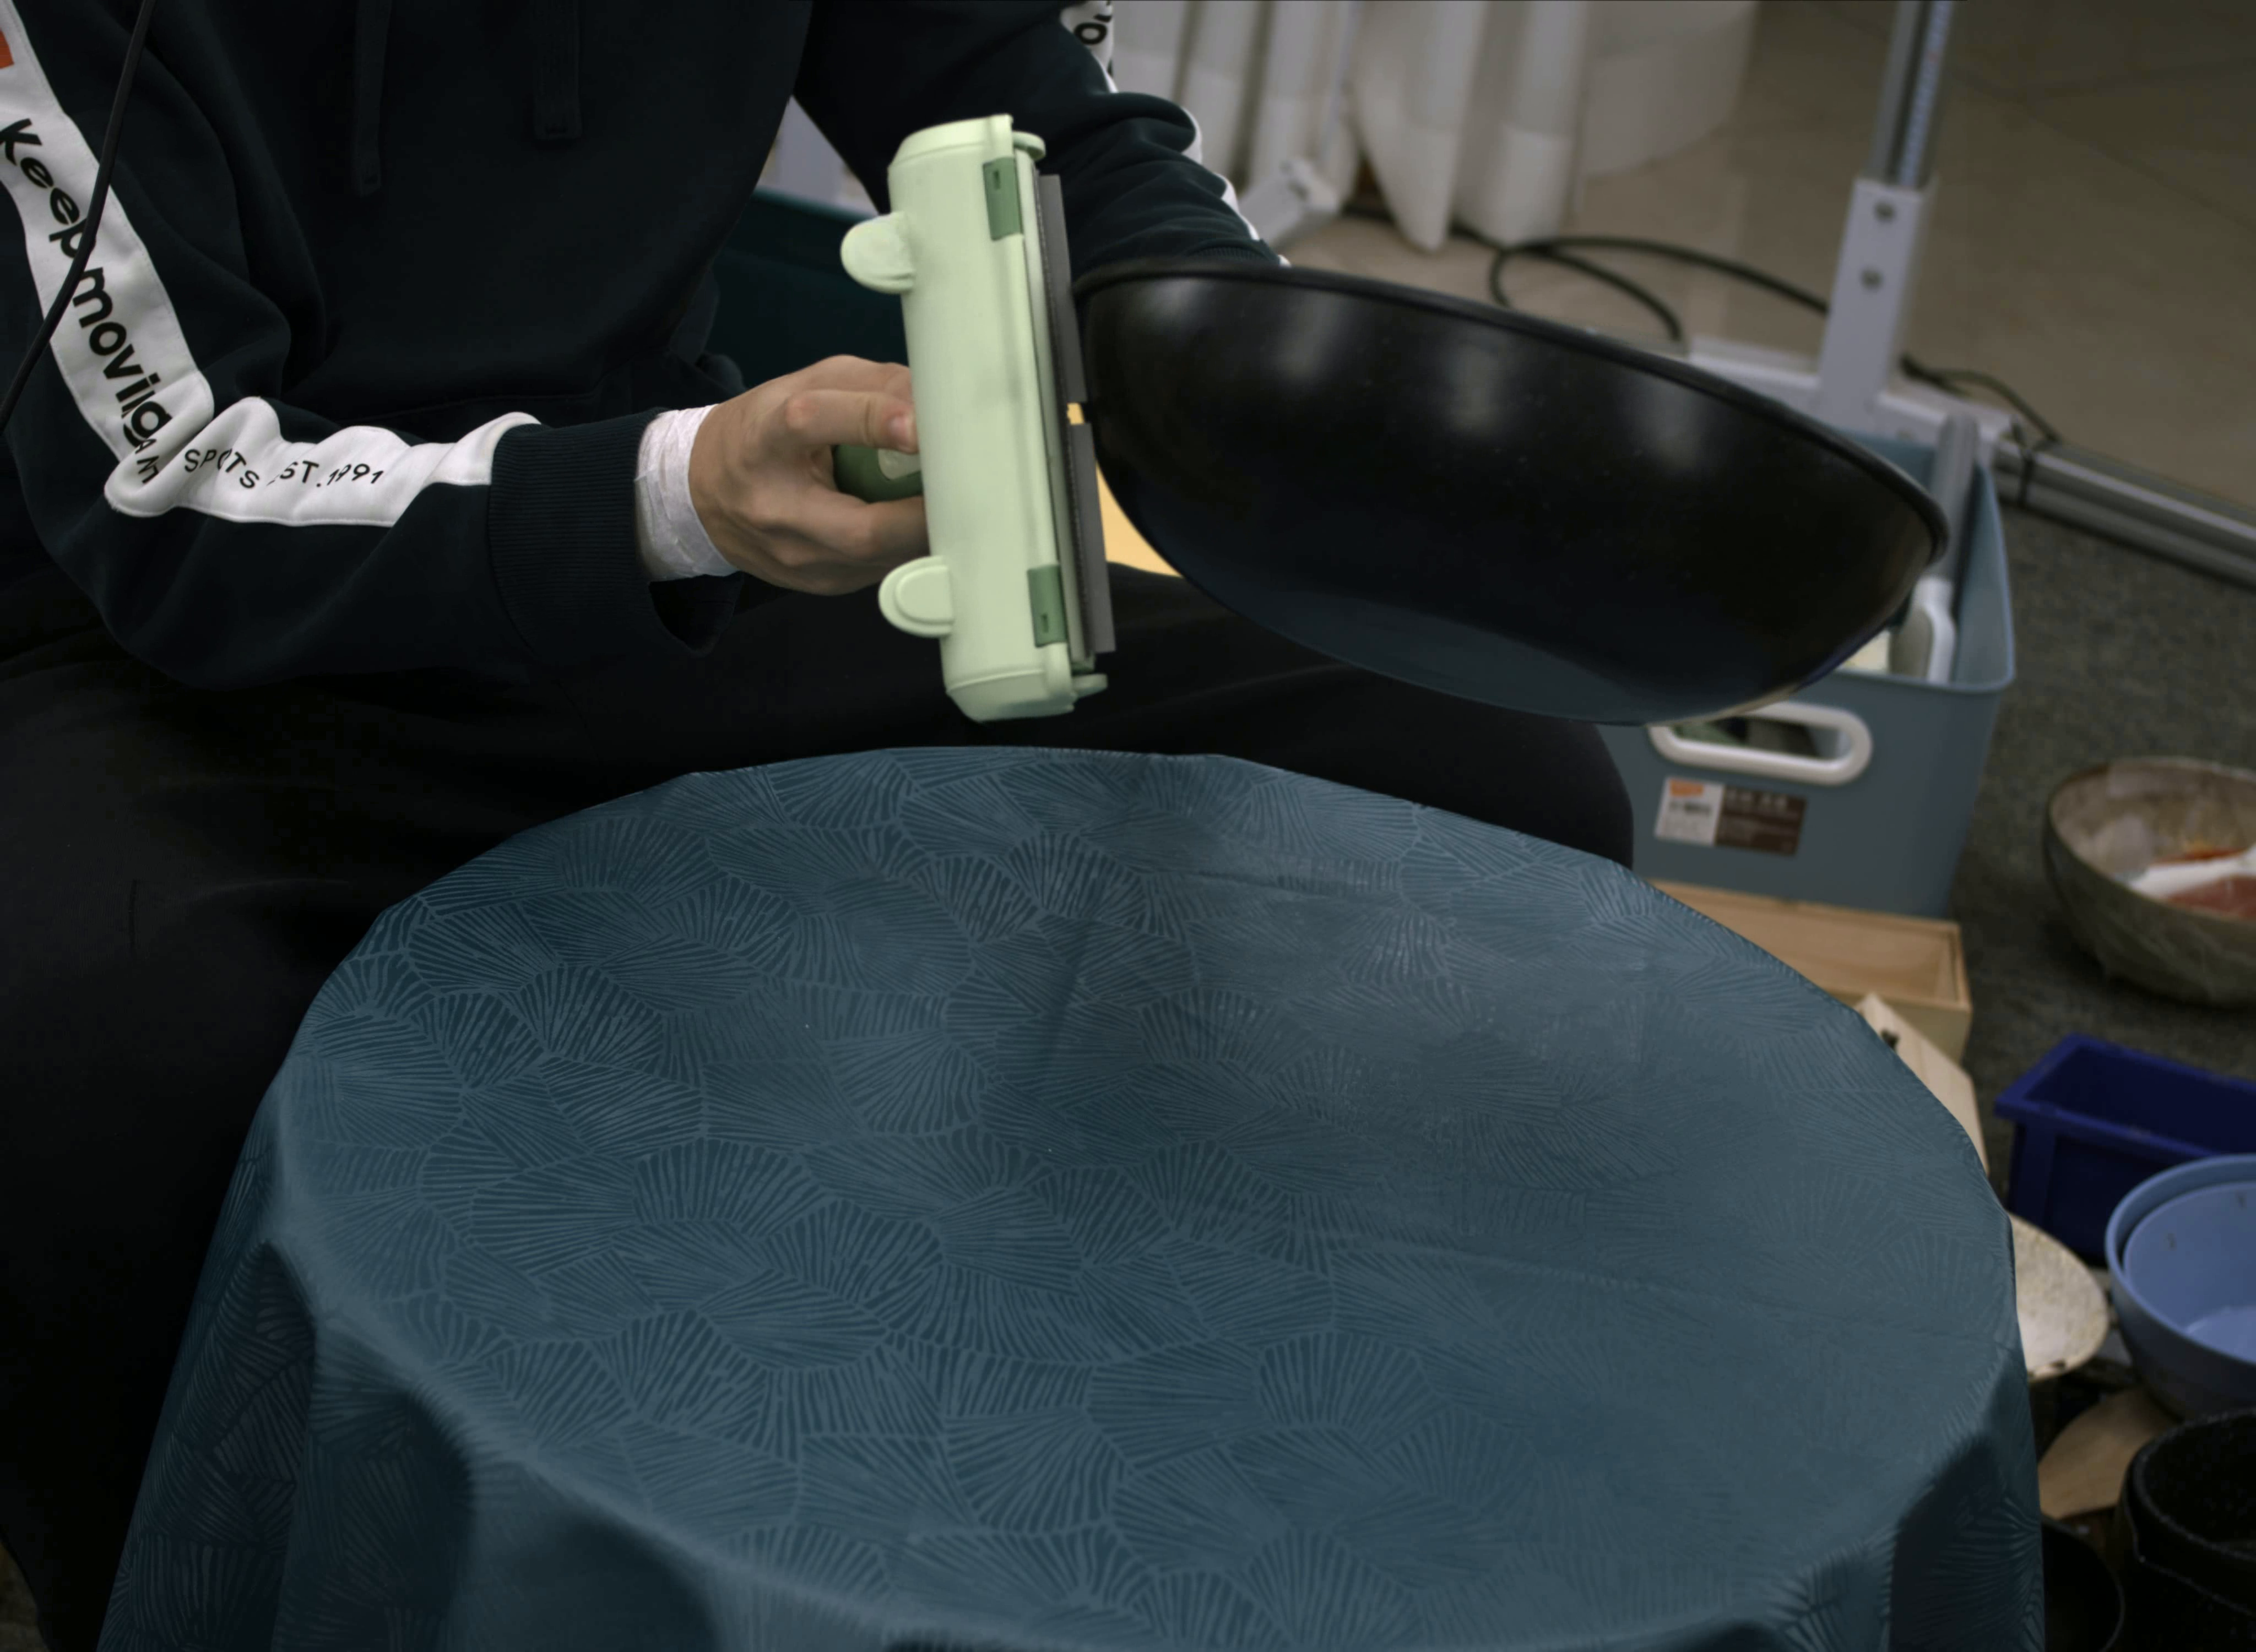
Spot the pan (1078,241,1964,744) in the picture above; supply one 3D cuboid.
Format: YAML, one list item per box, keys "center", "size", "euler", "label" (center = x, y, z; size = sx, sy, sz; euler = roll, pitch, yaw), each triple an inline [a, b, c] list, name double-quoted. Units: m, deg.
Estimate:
- center: [0.099, -0.103, 1.860]
  size: [0.308, 0.112, 0.478]
  euler: [21, -8, -14]
  label: "pan"

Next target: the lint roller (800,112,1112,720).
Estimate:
- center: [-0.082, -0.127, 1.806]
  size: [0.081, 0.199, 0.184]
  euler: [-3, -7, -37]
  label: "lint roller"
